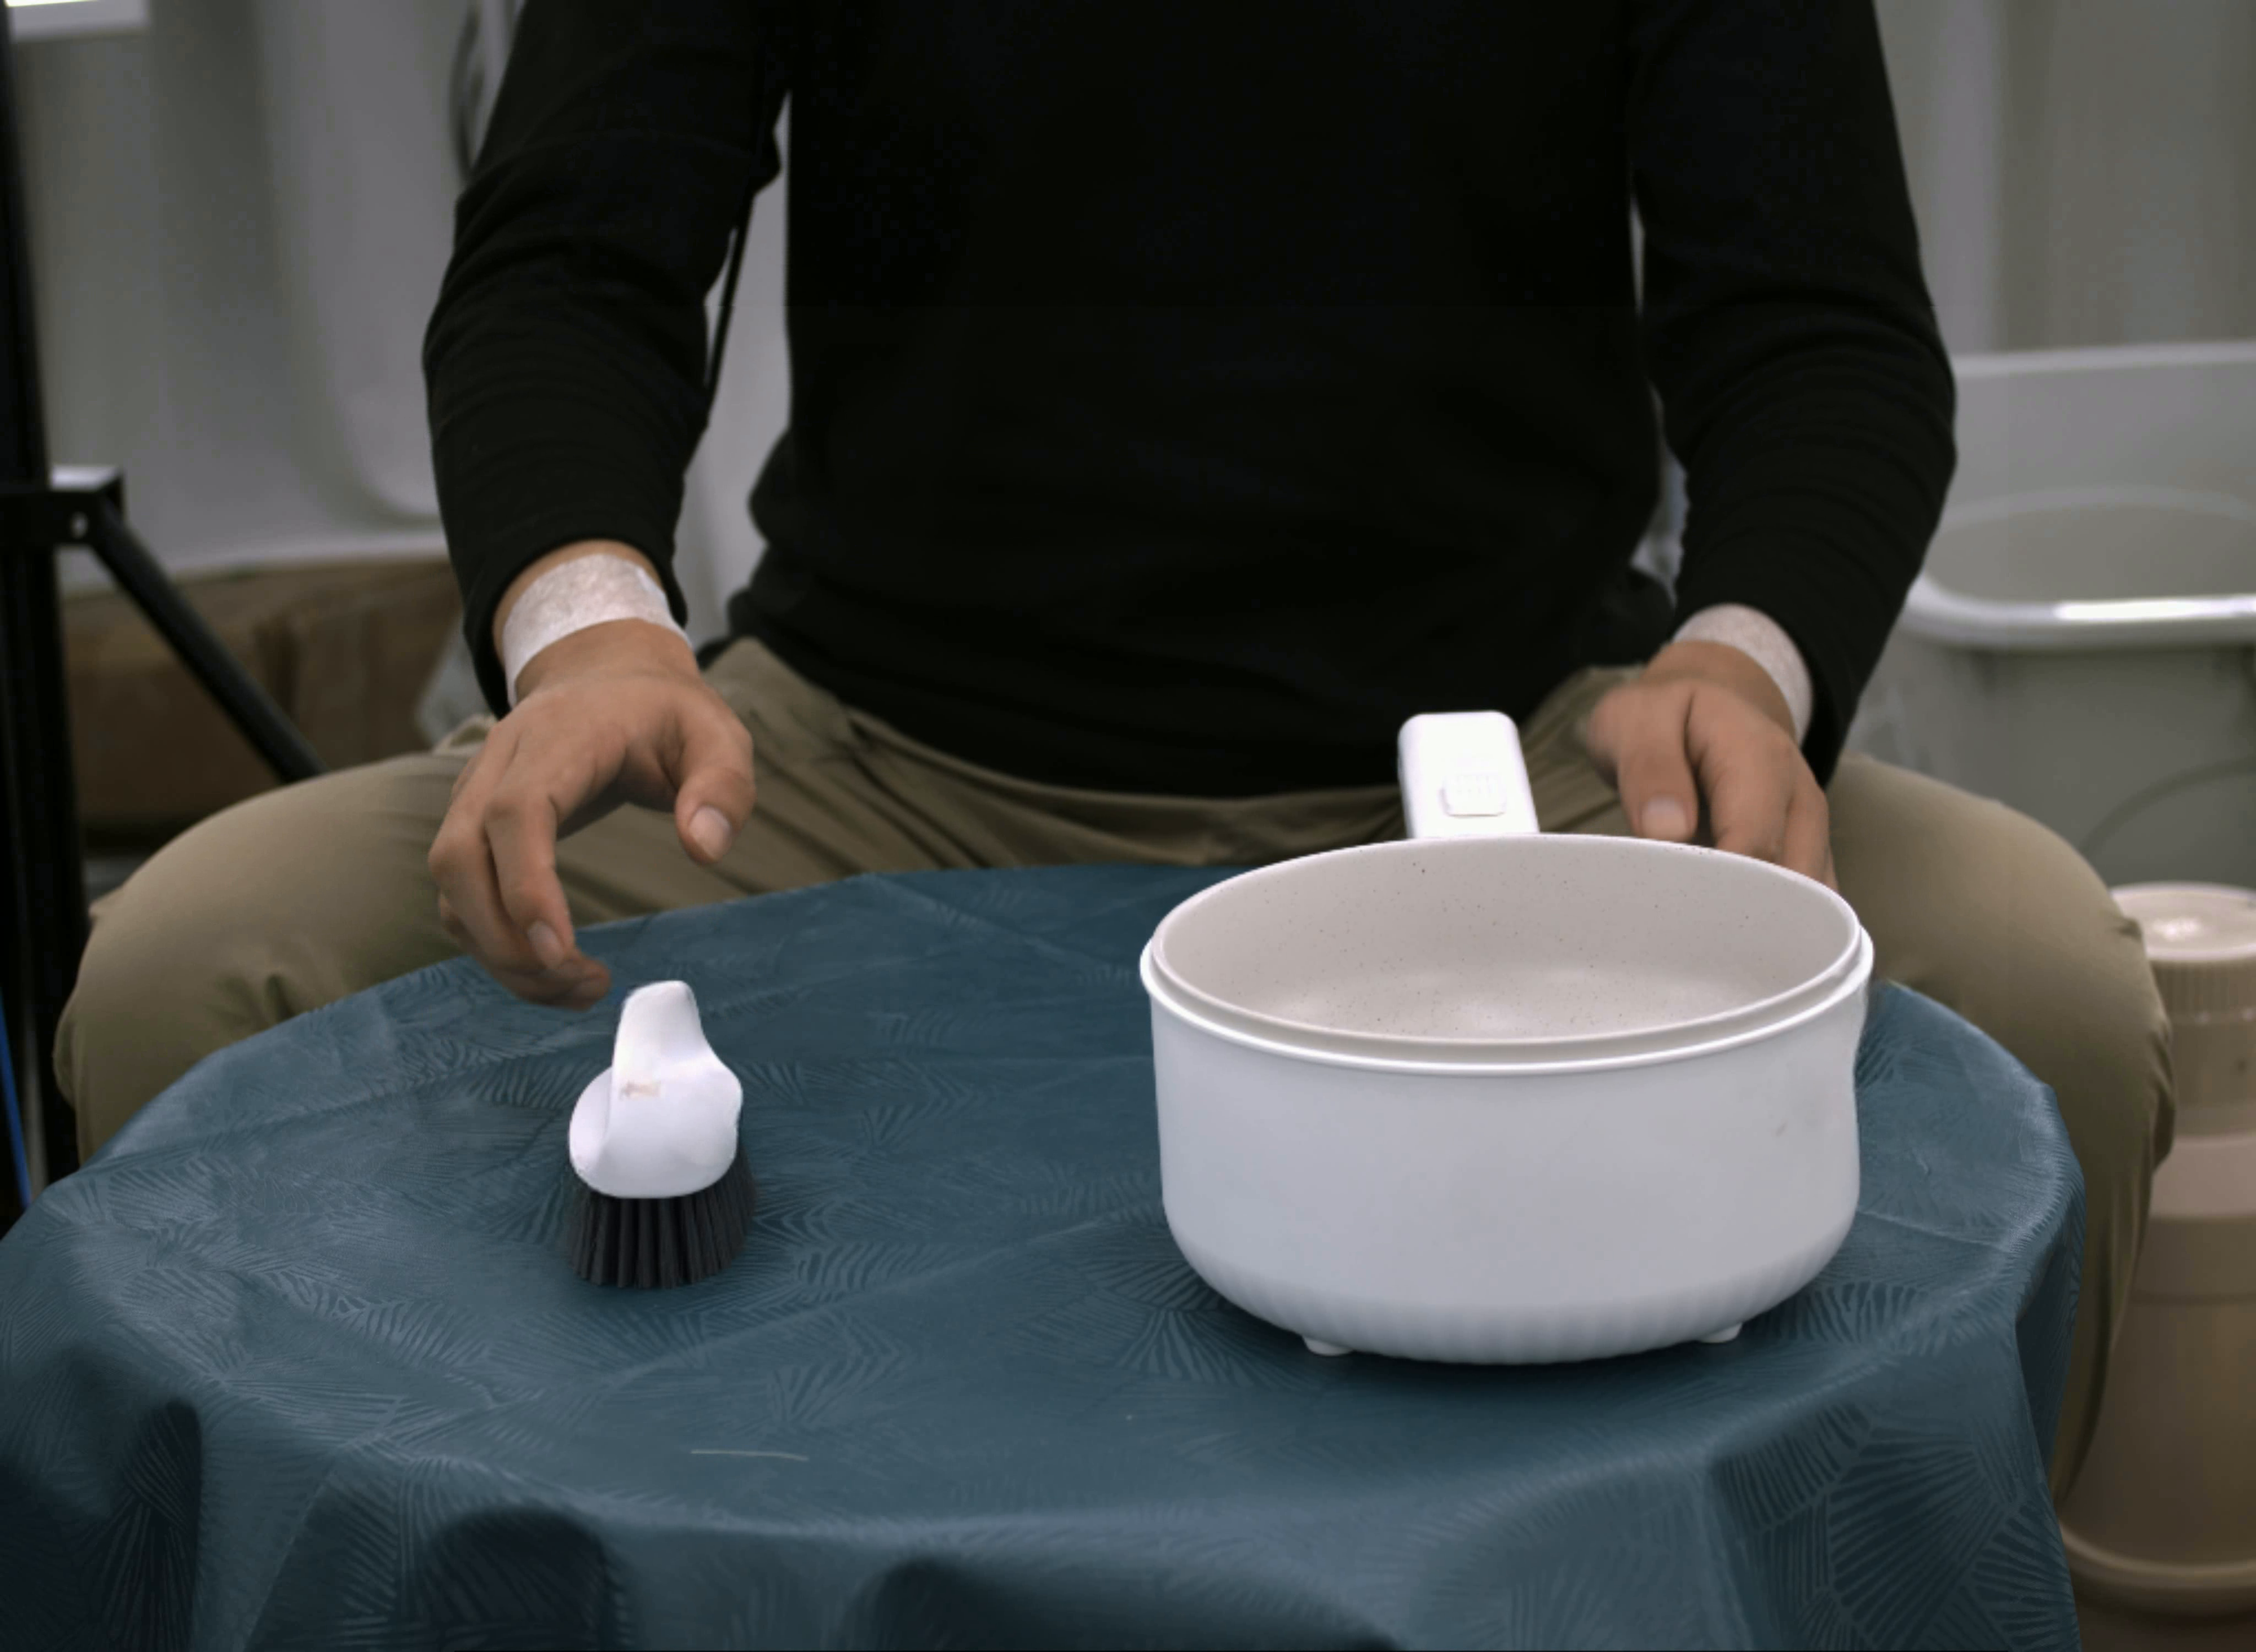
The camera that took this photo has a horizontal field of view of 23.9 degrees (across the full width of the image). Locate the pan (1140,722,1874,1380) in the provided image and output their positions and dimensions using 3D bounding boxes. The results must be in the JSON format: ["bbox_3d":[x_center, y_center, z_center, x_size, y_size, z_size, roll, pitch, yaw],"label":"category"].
[{"bbox_3d":[0.106,0.060,1.537,0.200,0.102,0.356,-4,15,2],"label":"pan"}]

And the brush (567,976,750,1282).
[{"bbox_3d":[-0.136,0.082,1.537,0.050,0.072,0.099,-2,16,2],"label":"brush"}]
